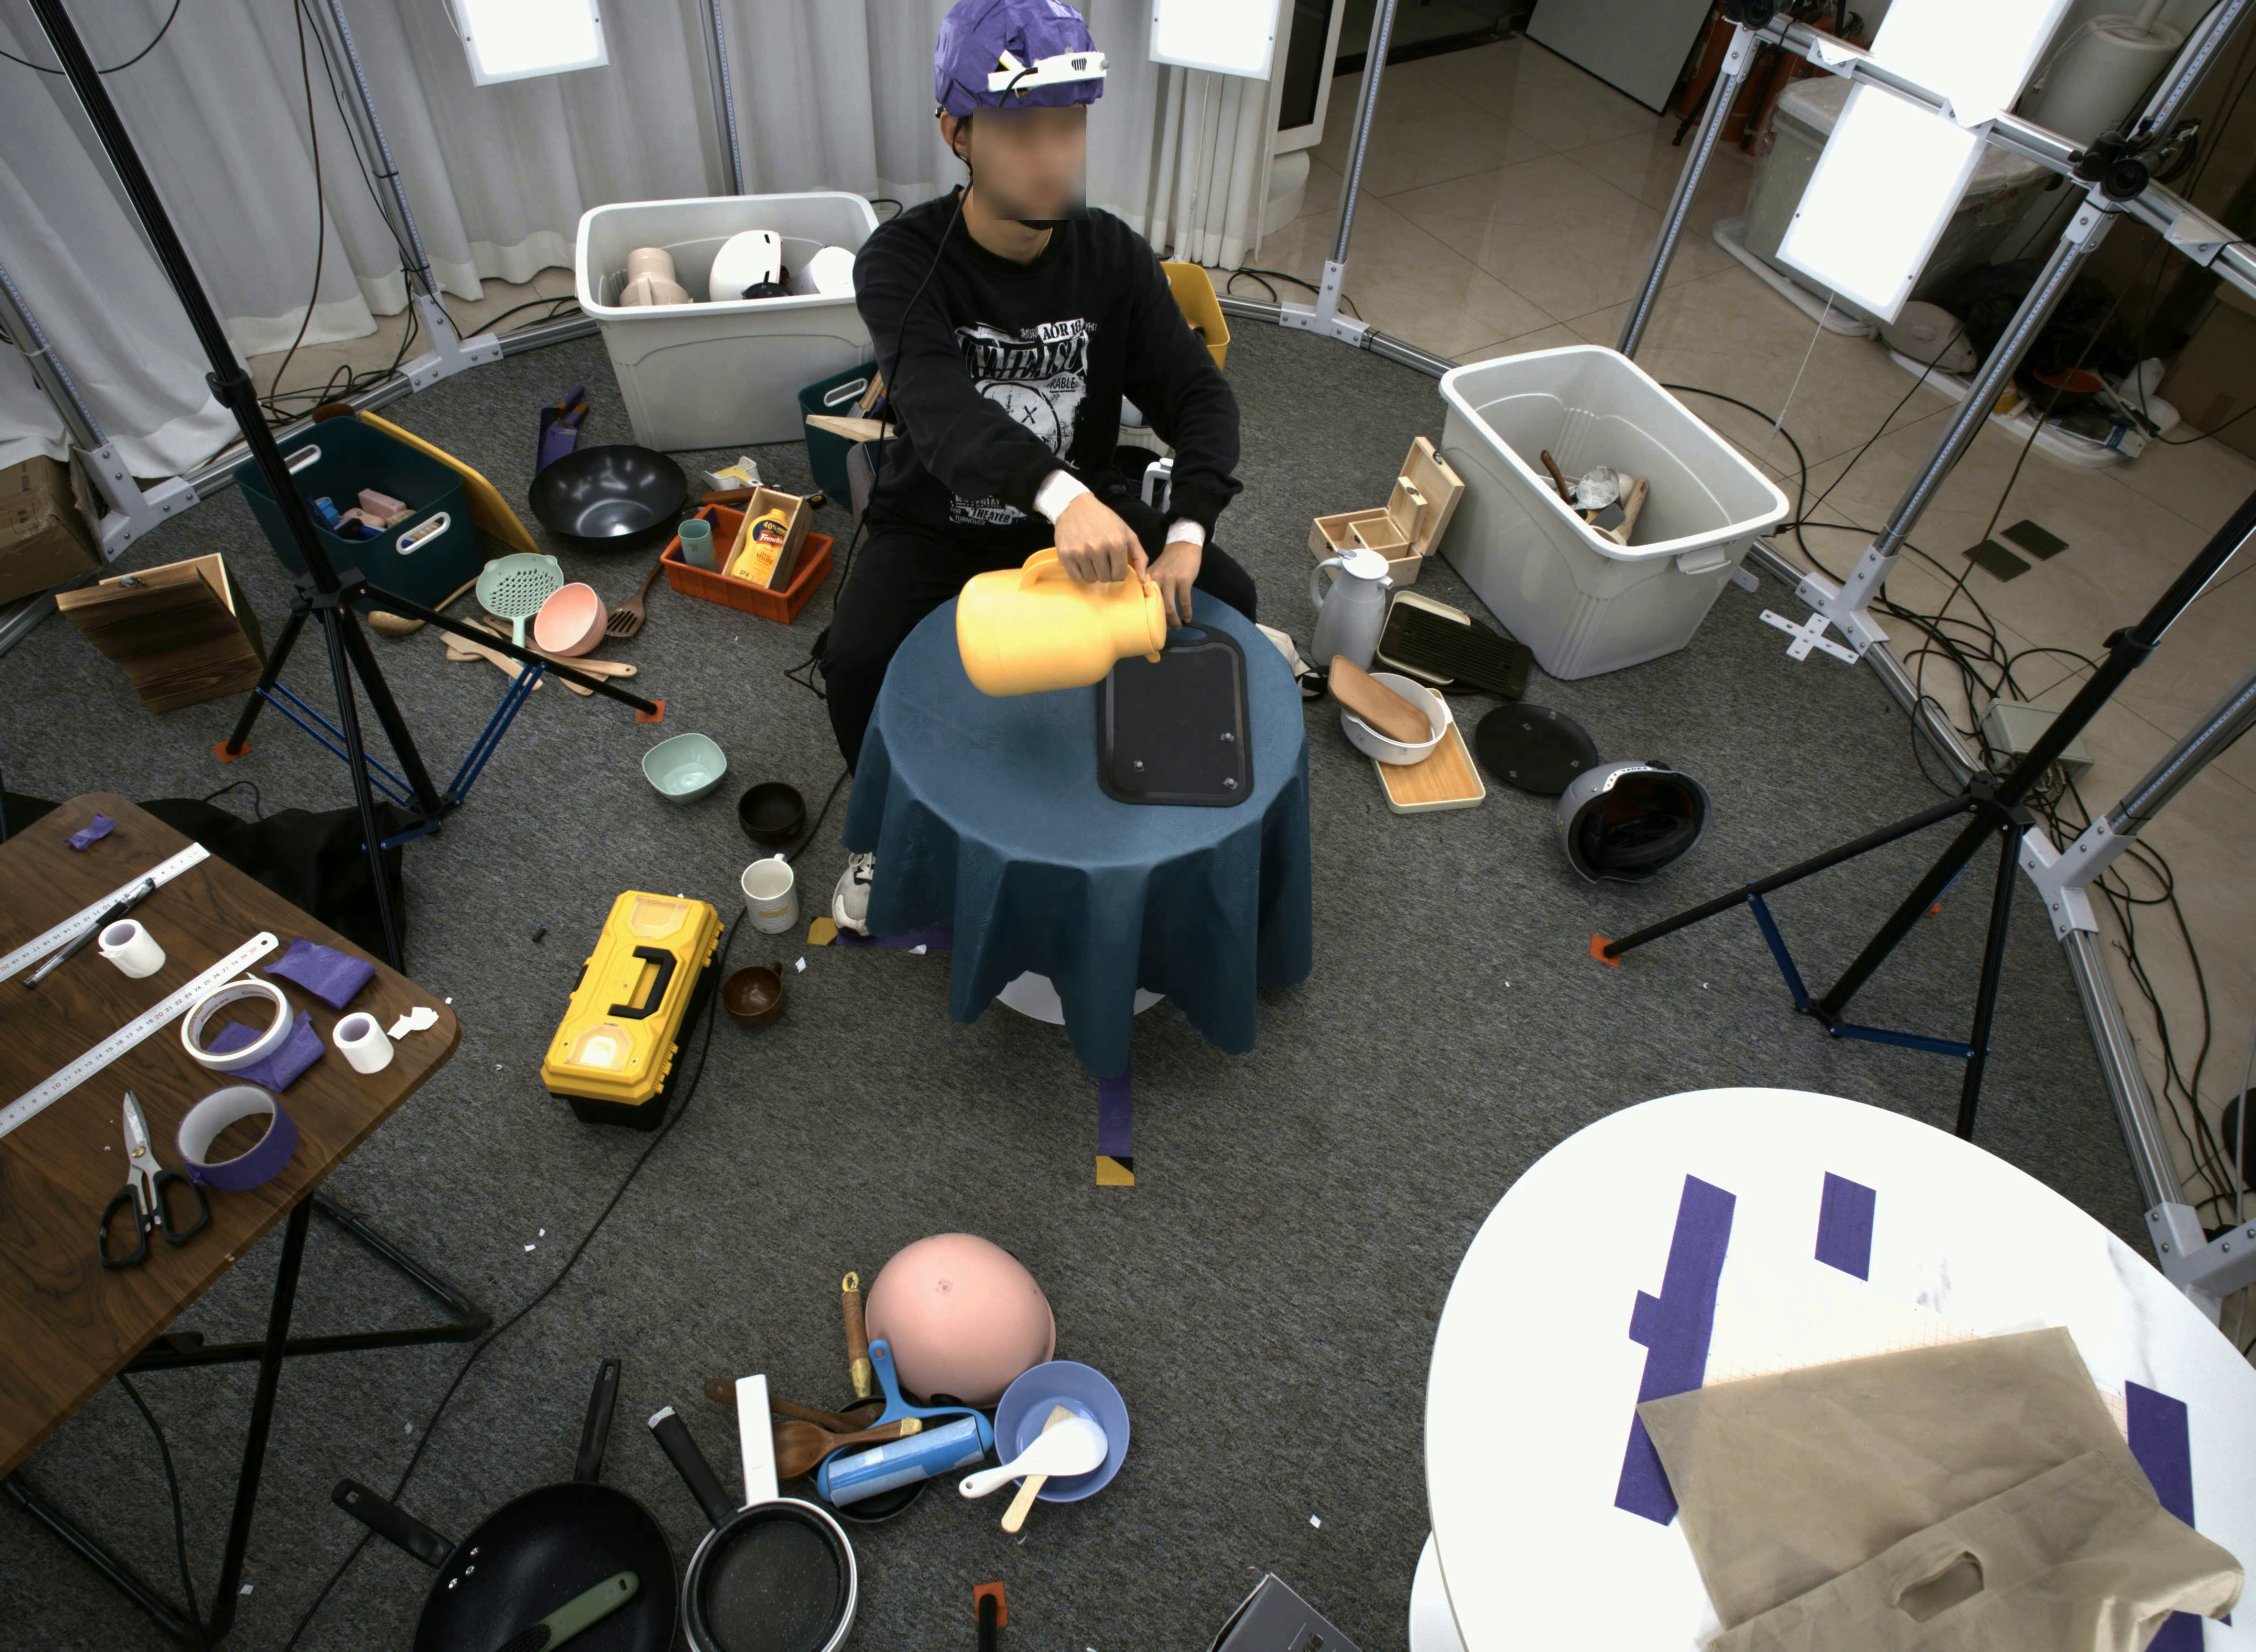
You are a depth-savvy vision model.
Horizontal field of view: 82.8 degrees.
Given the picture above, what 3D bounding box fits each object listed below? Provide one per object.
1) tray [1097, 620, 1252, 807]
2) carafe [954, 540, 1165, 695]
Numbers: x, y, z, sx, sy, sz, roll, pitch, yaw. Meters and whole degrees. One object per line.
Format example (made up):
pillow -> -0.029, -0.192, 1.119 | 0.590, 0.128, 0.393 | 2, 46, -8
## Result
tray -> 0.065, -0.165, 1.788 | 0.211, 0.009, 0.333 | 2, 56, -2
carafe -> -0.086, -0.272, 1.638 | 0.260, 0.197, 0.167 | -5, 47, 9
